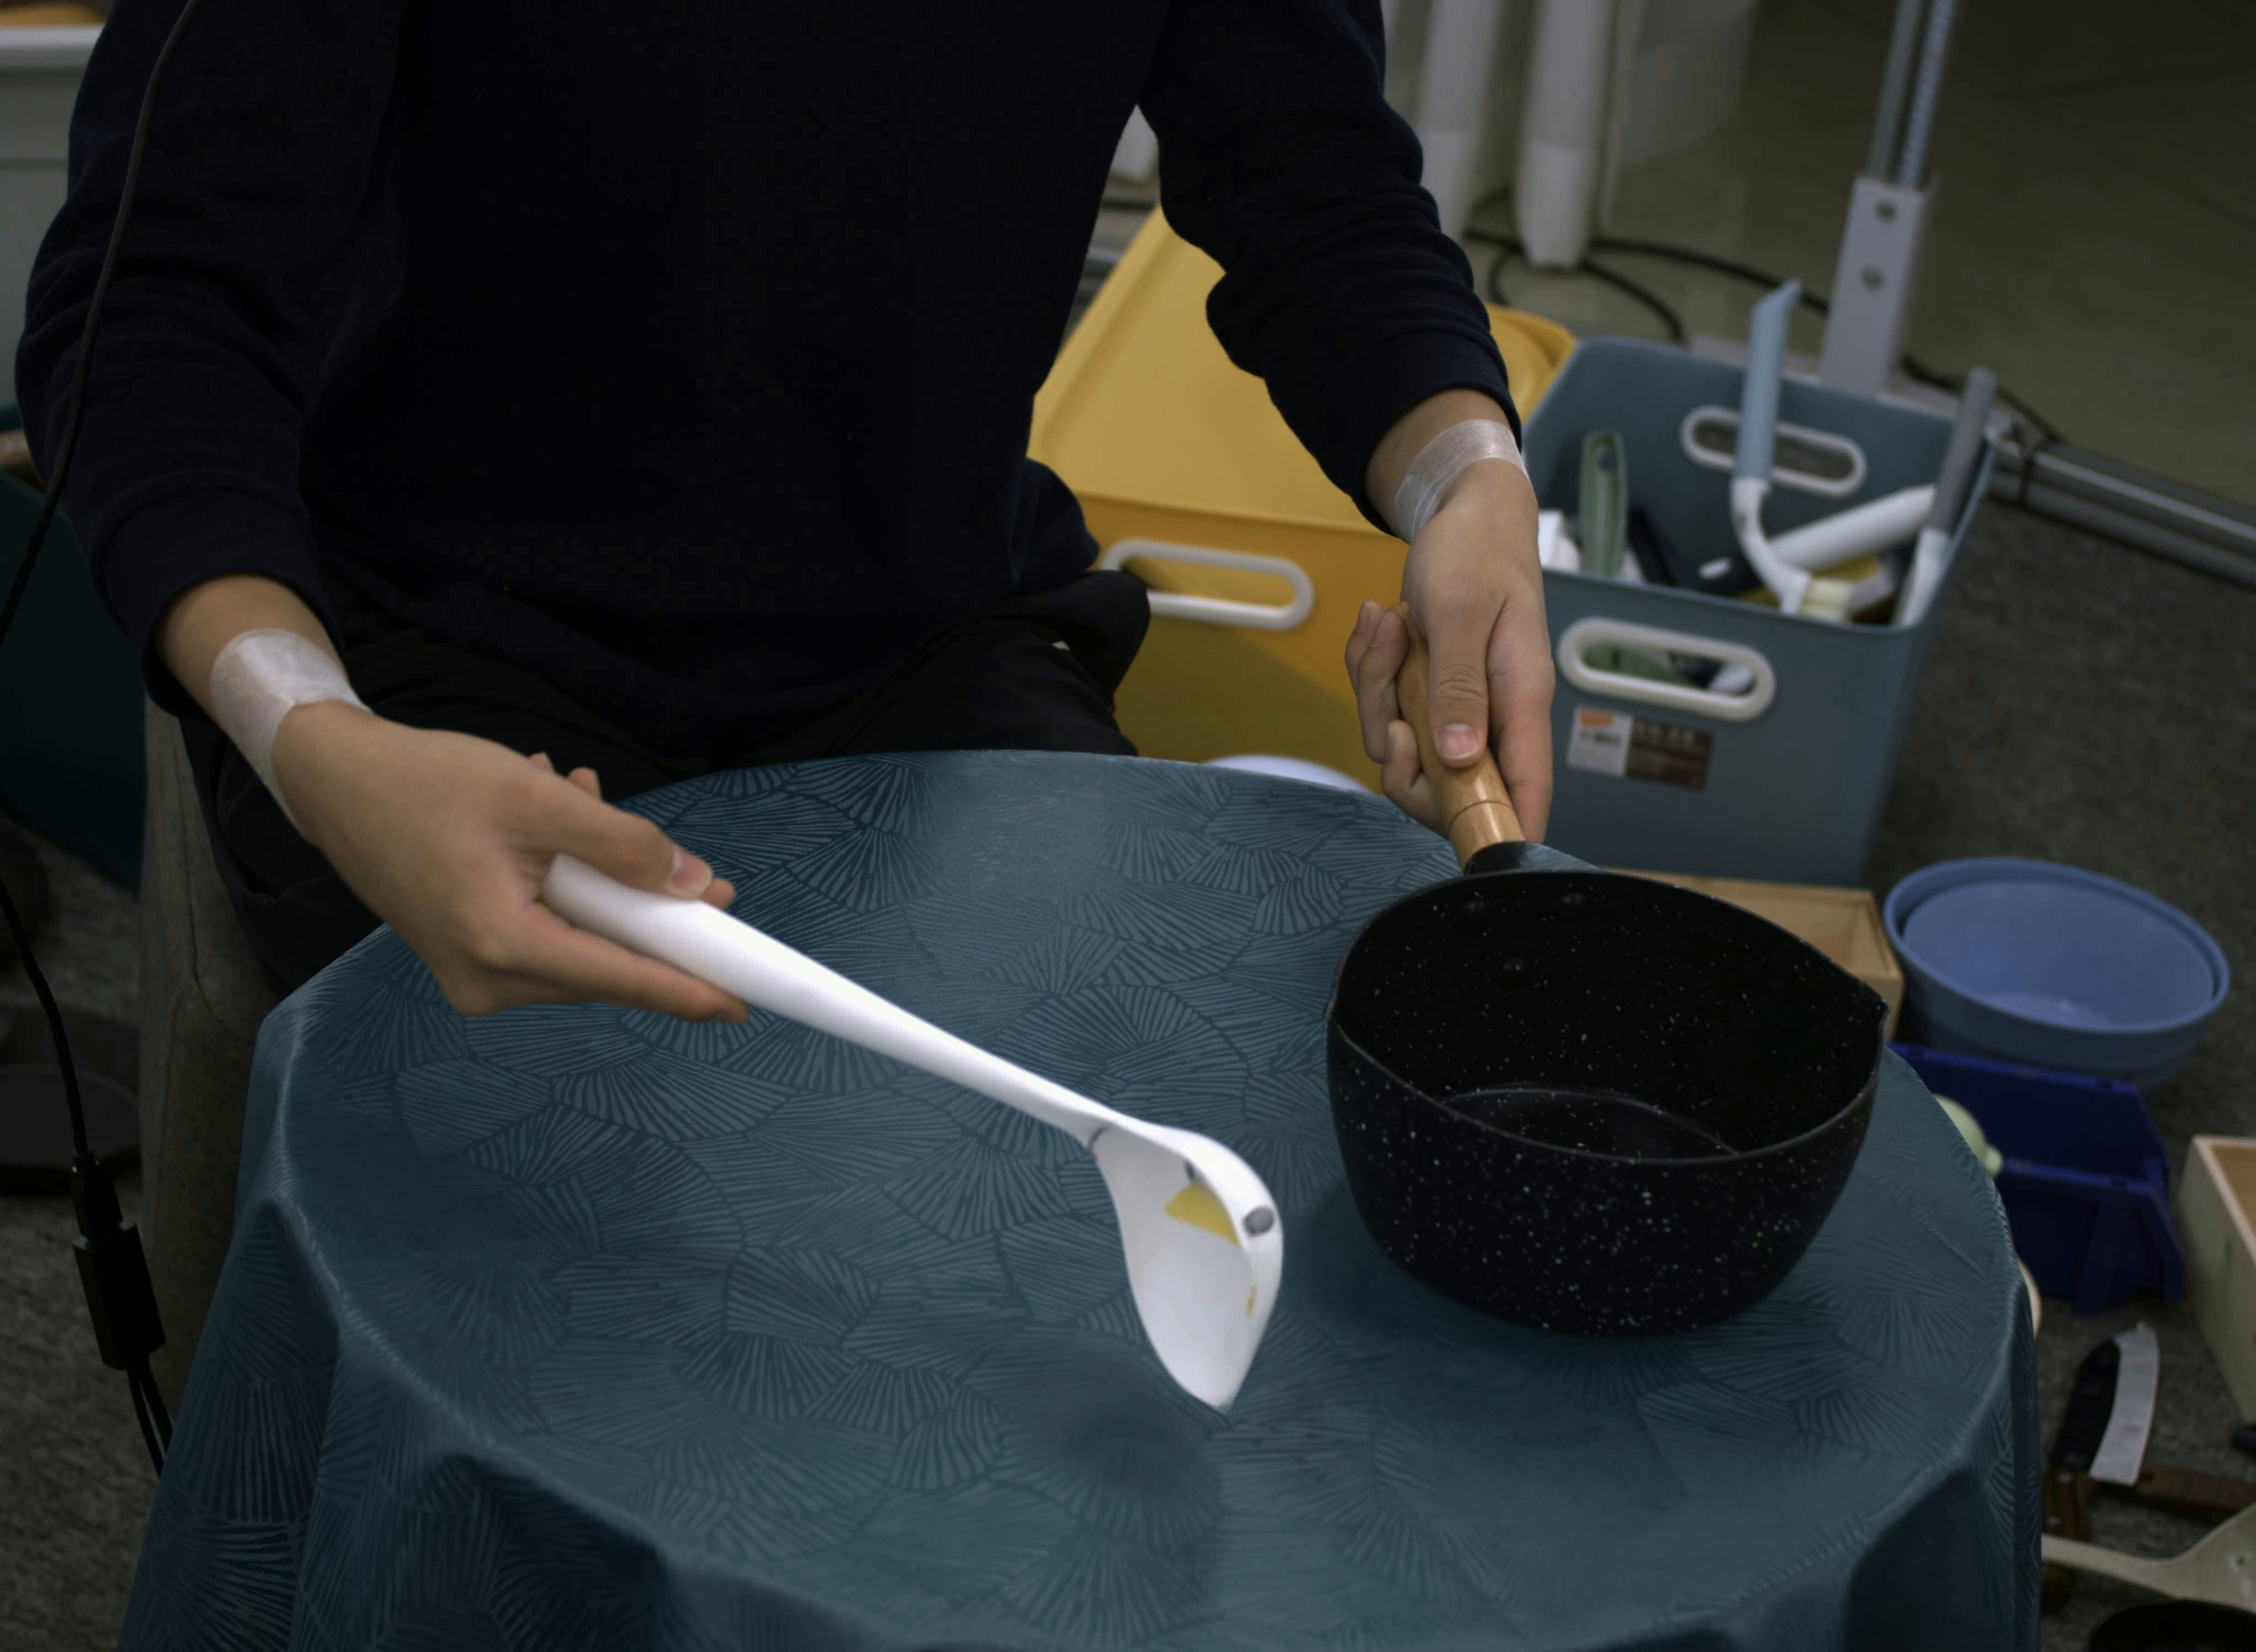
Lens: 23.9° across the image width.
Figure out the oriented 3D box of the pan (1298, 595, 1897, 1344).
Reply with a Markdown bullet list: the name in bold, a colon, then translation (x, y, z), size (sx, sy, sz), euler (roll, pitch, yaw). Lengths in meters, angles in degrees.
- **pan**: translation (0.137, 0.047, 1.852), size (0.206, 0.108, 0.346), euler (-4, 32, -15)

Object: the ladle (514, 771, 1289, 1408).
- **ladle**: translation (-0.074, 0.080, 1.677), size (0.293, 0.090, 0.070), euler (30, 54, 7)
